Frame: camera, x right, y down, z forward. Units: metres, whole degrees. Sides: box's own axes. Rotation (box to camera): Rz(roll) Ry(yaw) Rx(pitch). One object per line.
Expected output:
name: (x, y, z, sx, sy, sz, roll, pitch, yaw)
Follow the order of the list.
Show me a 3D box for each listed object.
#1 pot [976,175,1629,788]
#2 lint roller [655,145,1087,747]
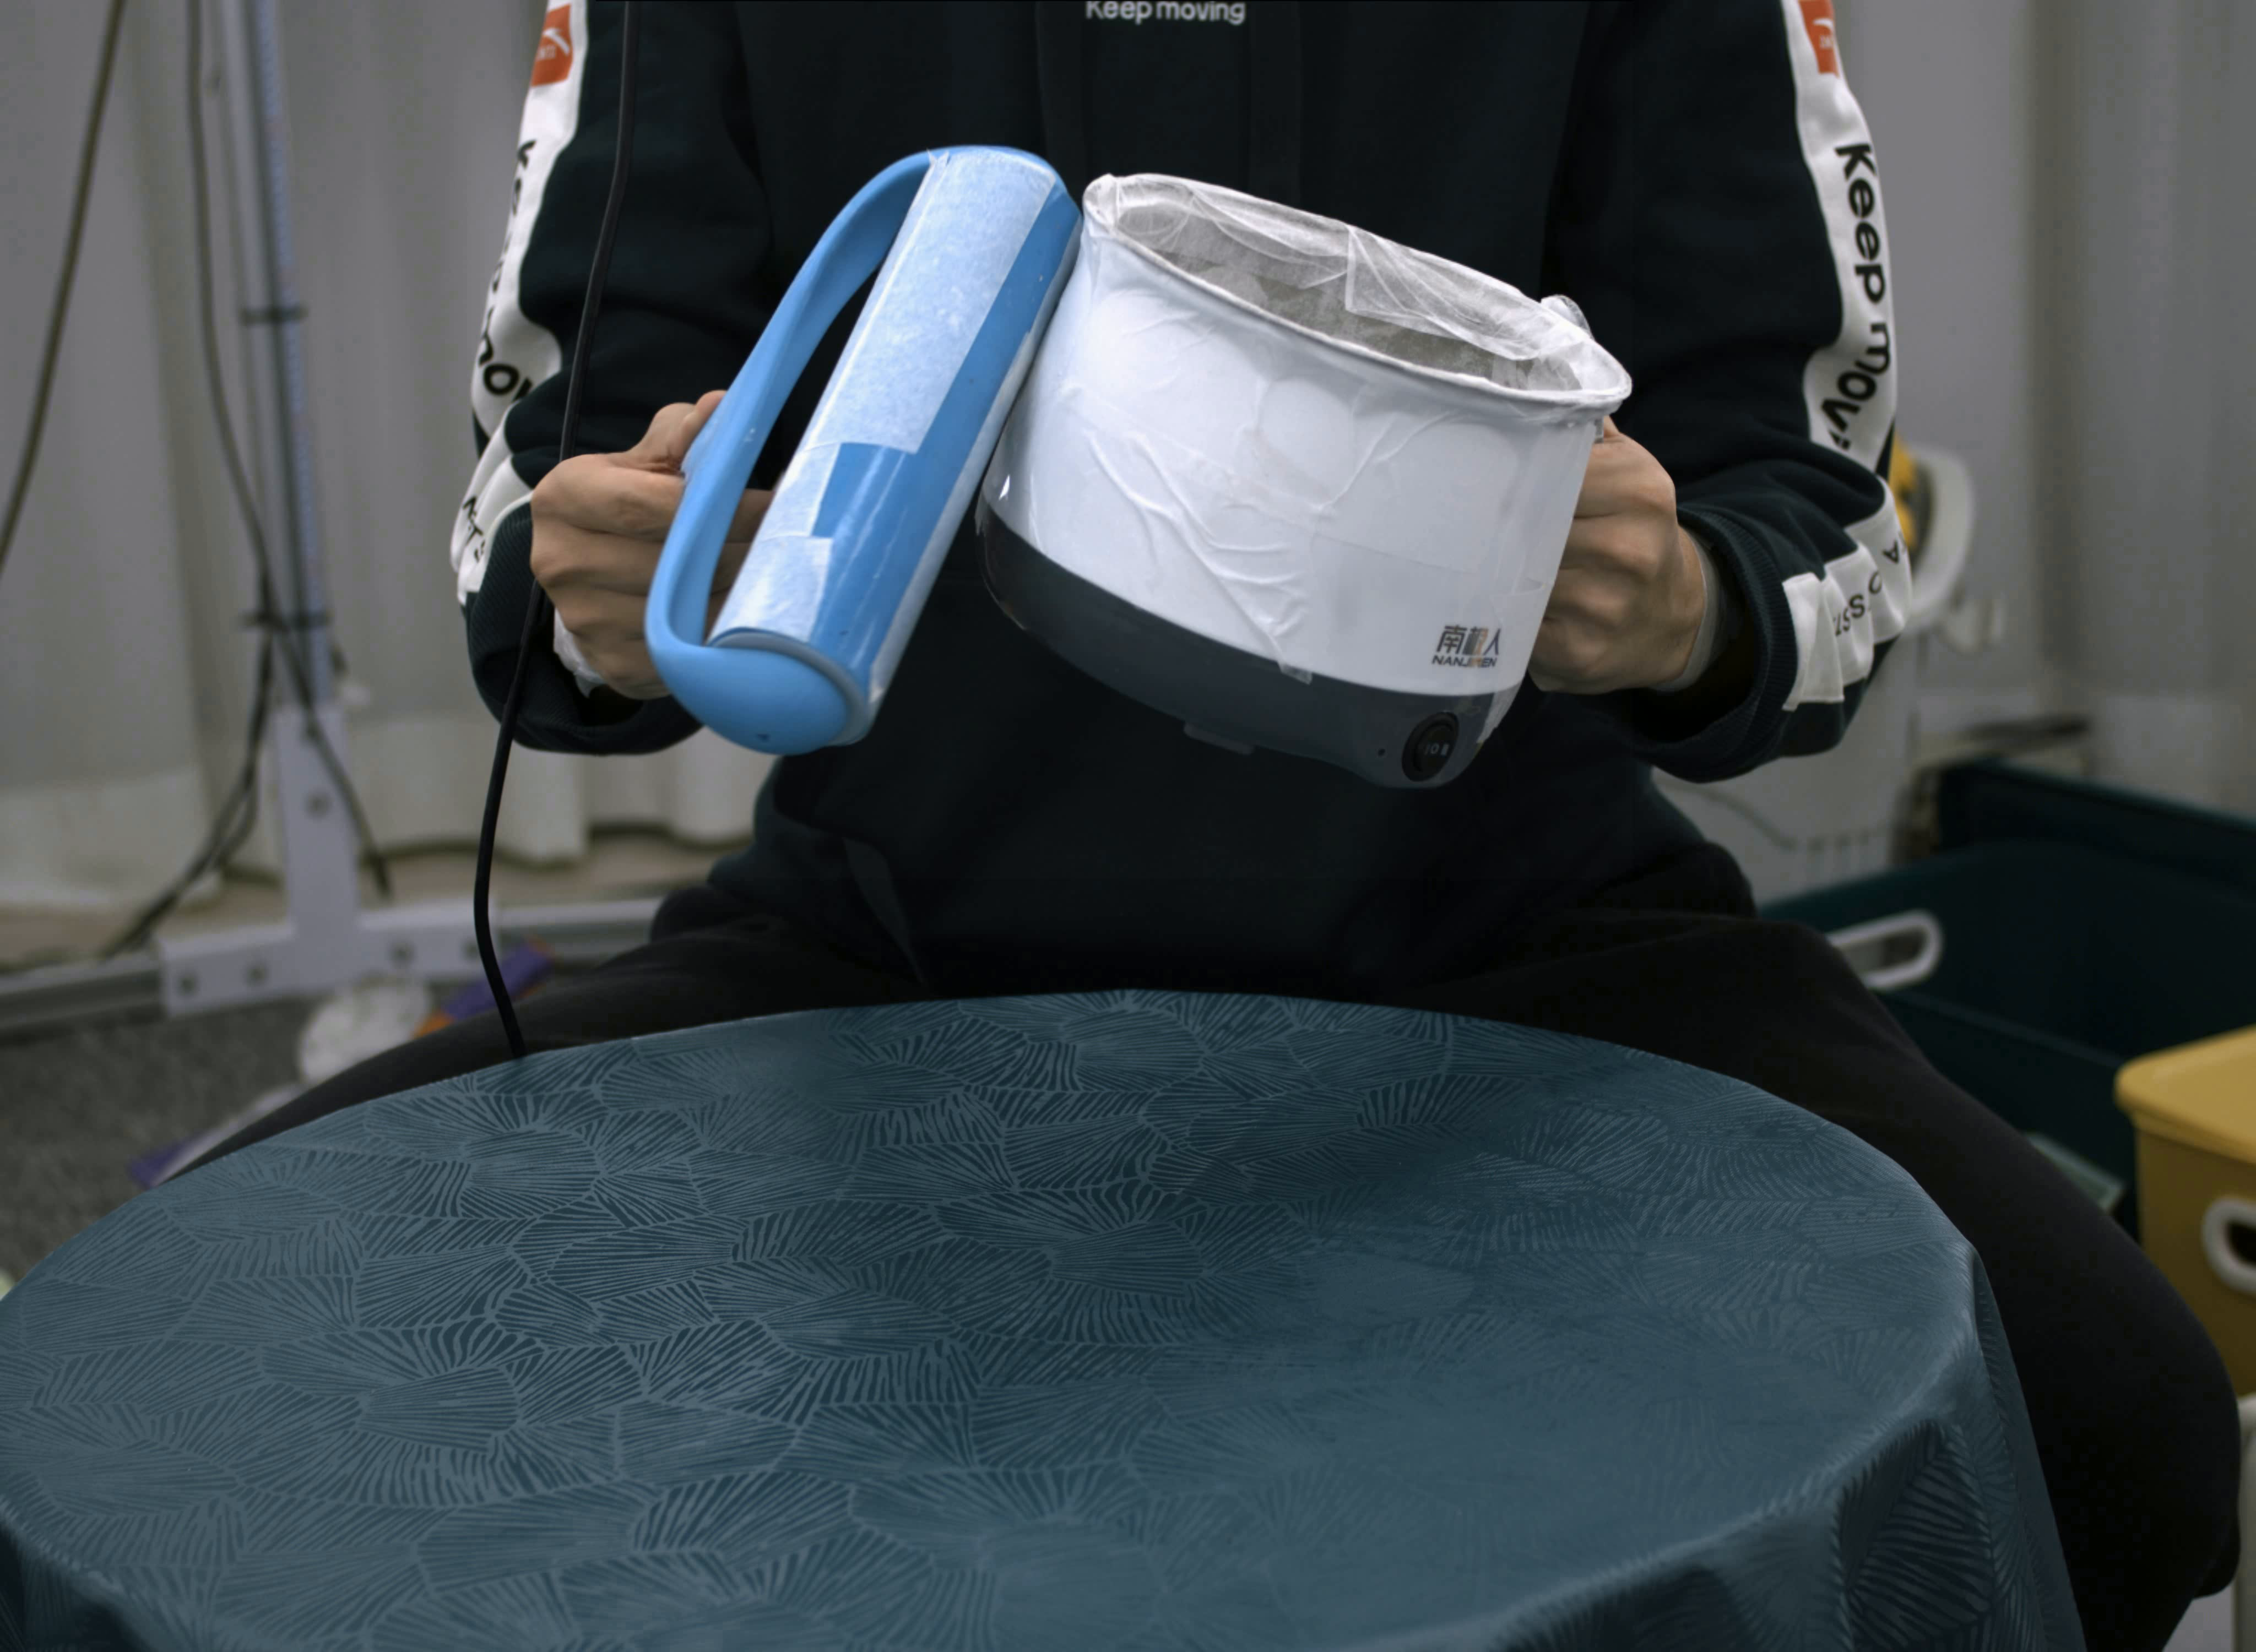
pot: (0.068, -0.107, 1.696, 0.180, 0.136, 0.232, 33, 22, 37)
lint roller: (-0.105, -0.099, 1.680, 0.179, 0.067, 0.232, -26, 35, 45)
